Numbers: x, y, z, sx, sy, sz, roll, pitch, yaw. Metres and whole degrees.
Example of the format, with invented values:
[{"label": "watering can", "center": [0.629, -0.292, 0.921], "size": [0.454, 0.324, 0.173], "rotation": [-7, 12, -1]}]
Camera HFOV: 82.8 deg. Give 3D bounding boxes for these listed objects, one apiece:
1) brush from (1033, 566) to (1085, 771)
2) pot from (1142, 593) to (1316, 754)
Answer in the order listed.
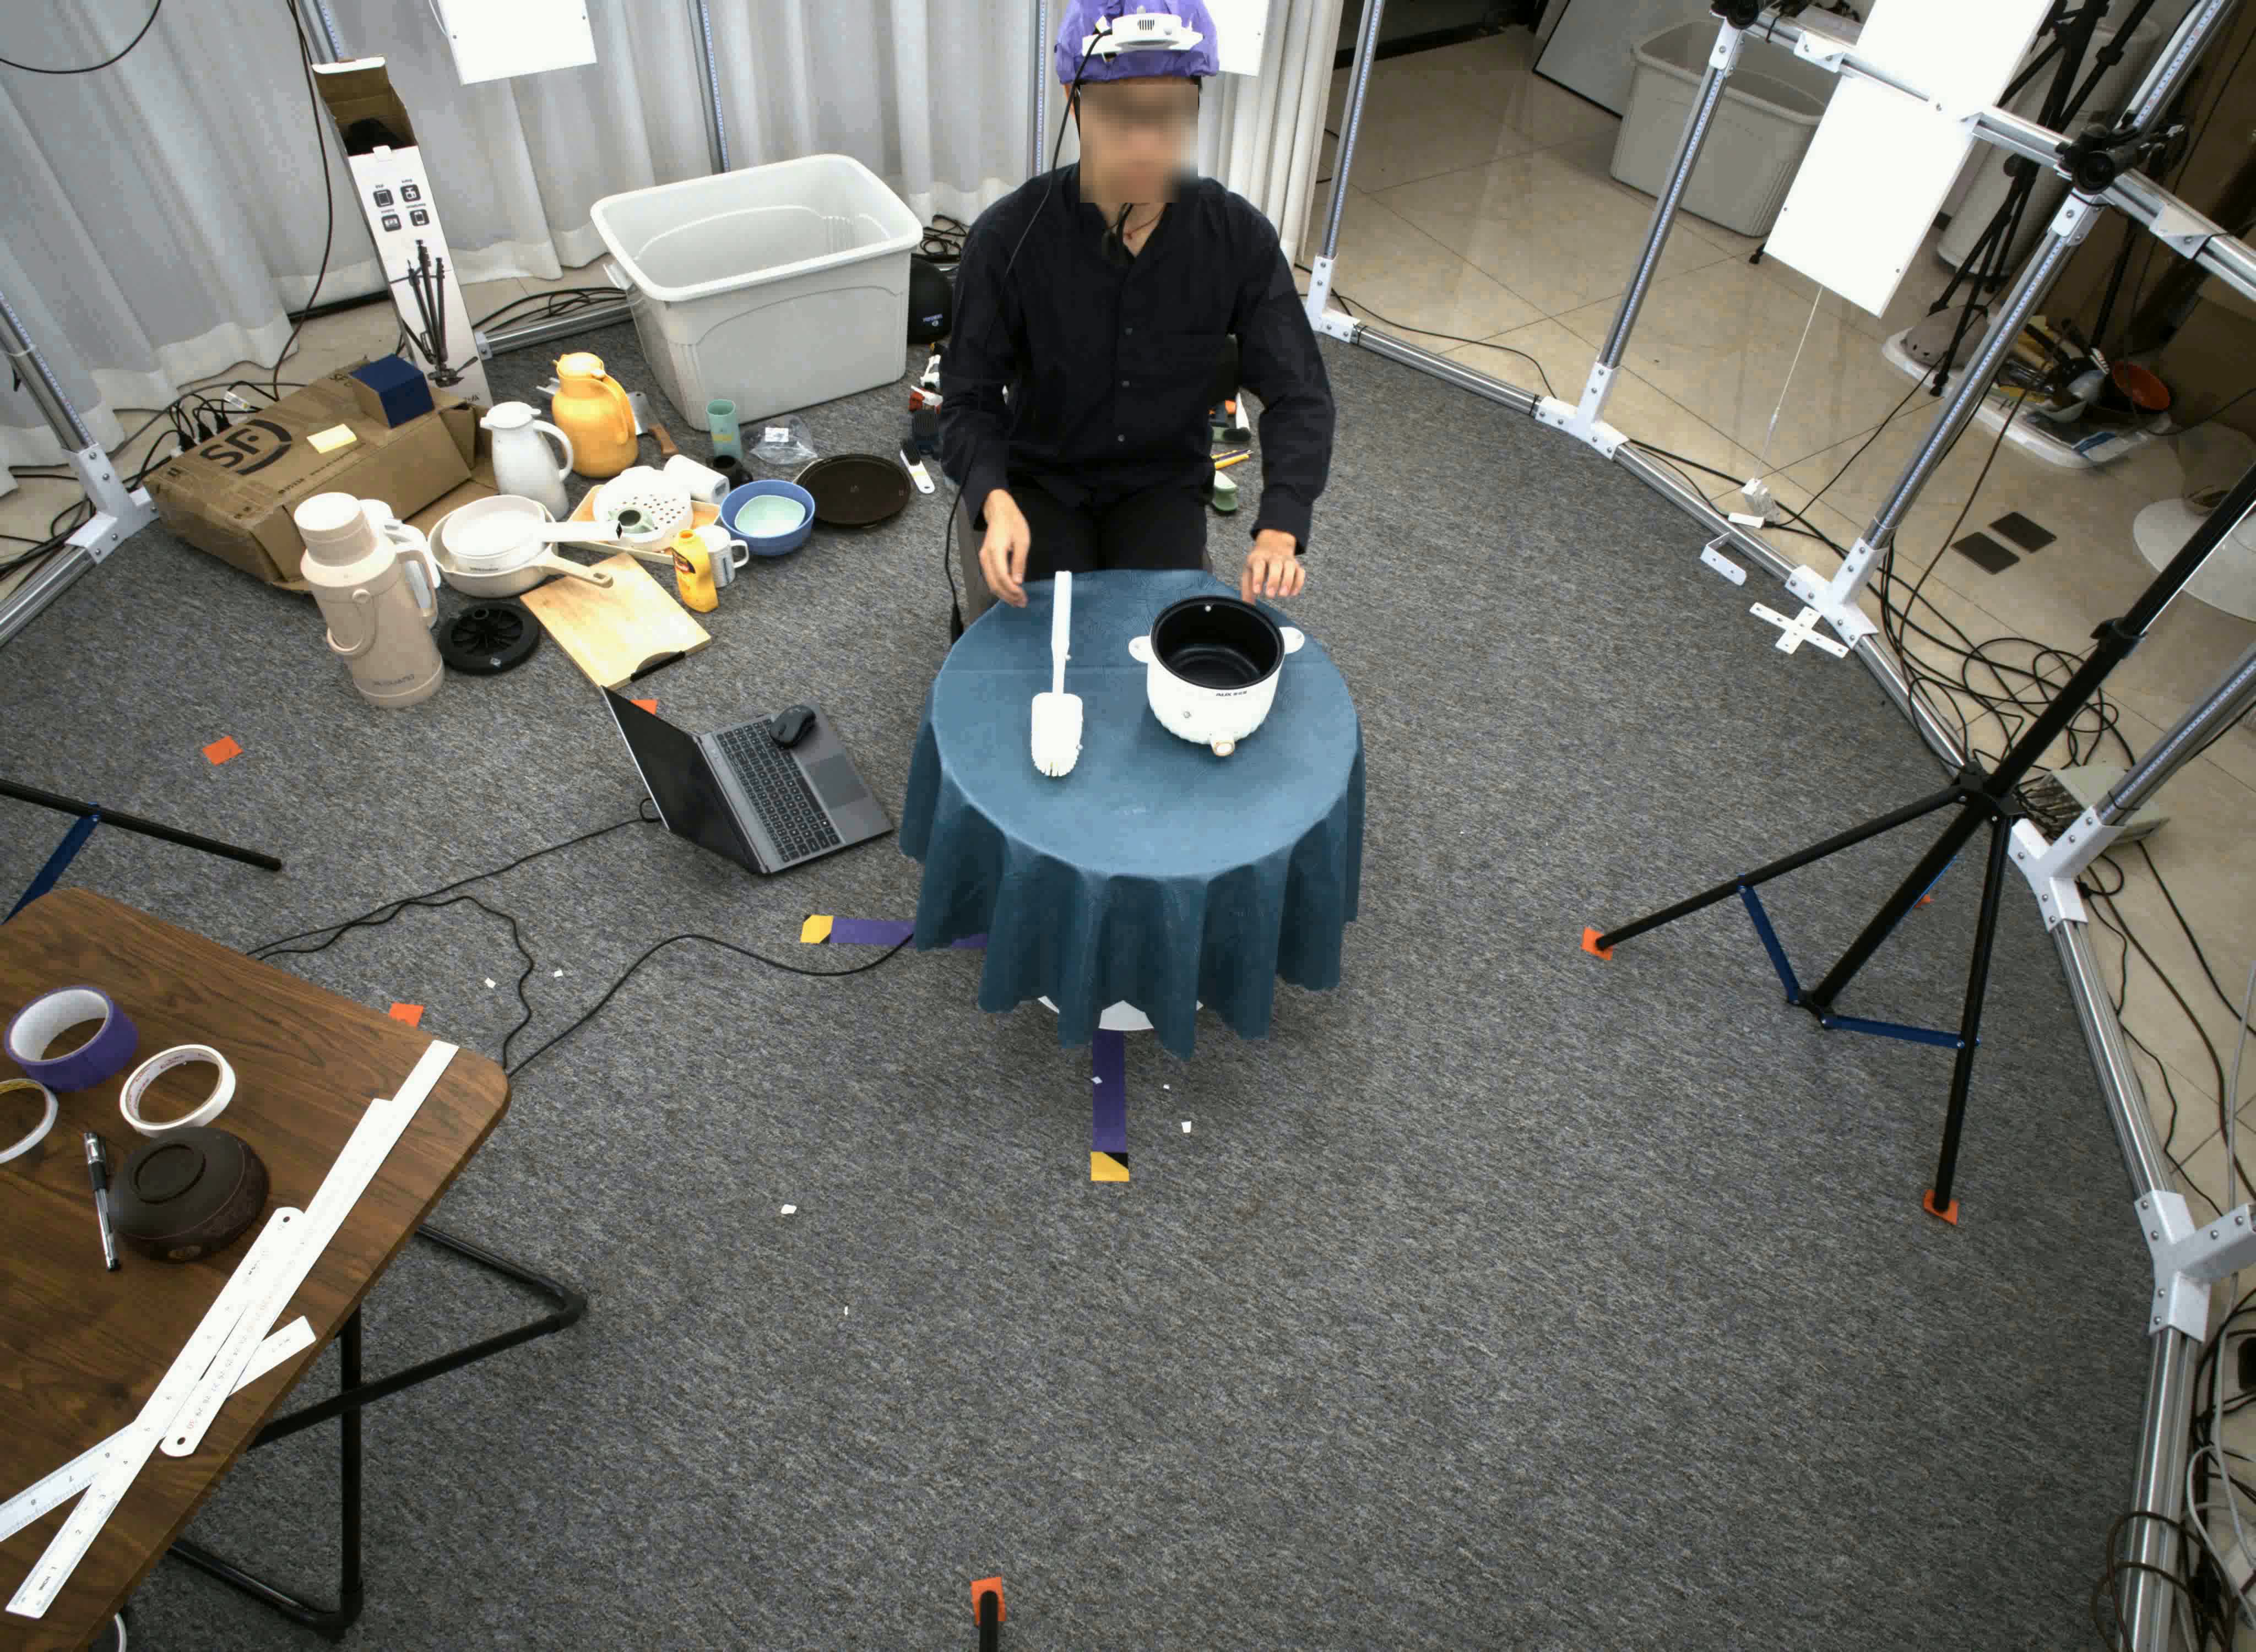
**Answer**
[{"label": "brush", "center": [-0.090, -0.216, 1.794], "size": [0.082, 0.084, 0.332], "rotation": [22, 55, -33]}, {"label": "pot", "center": [0.135, -0.206, 1.760], "size": [0.240, 0.139, 0.195], "rotation": [-7, 48, -9]}]
